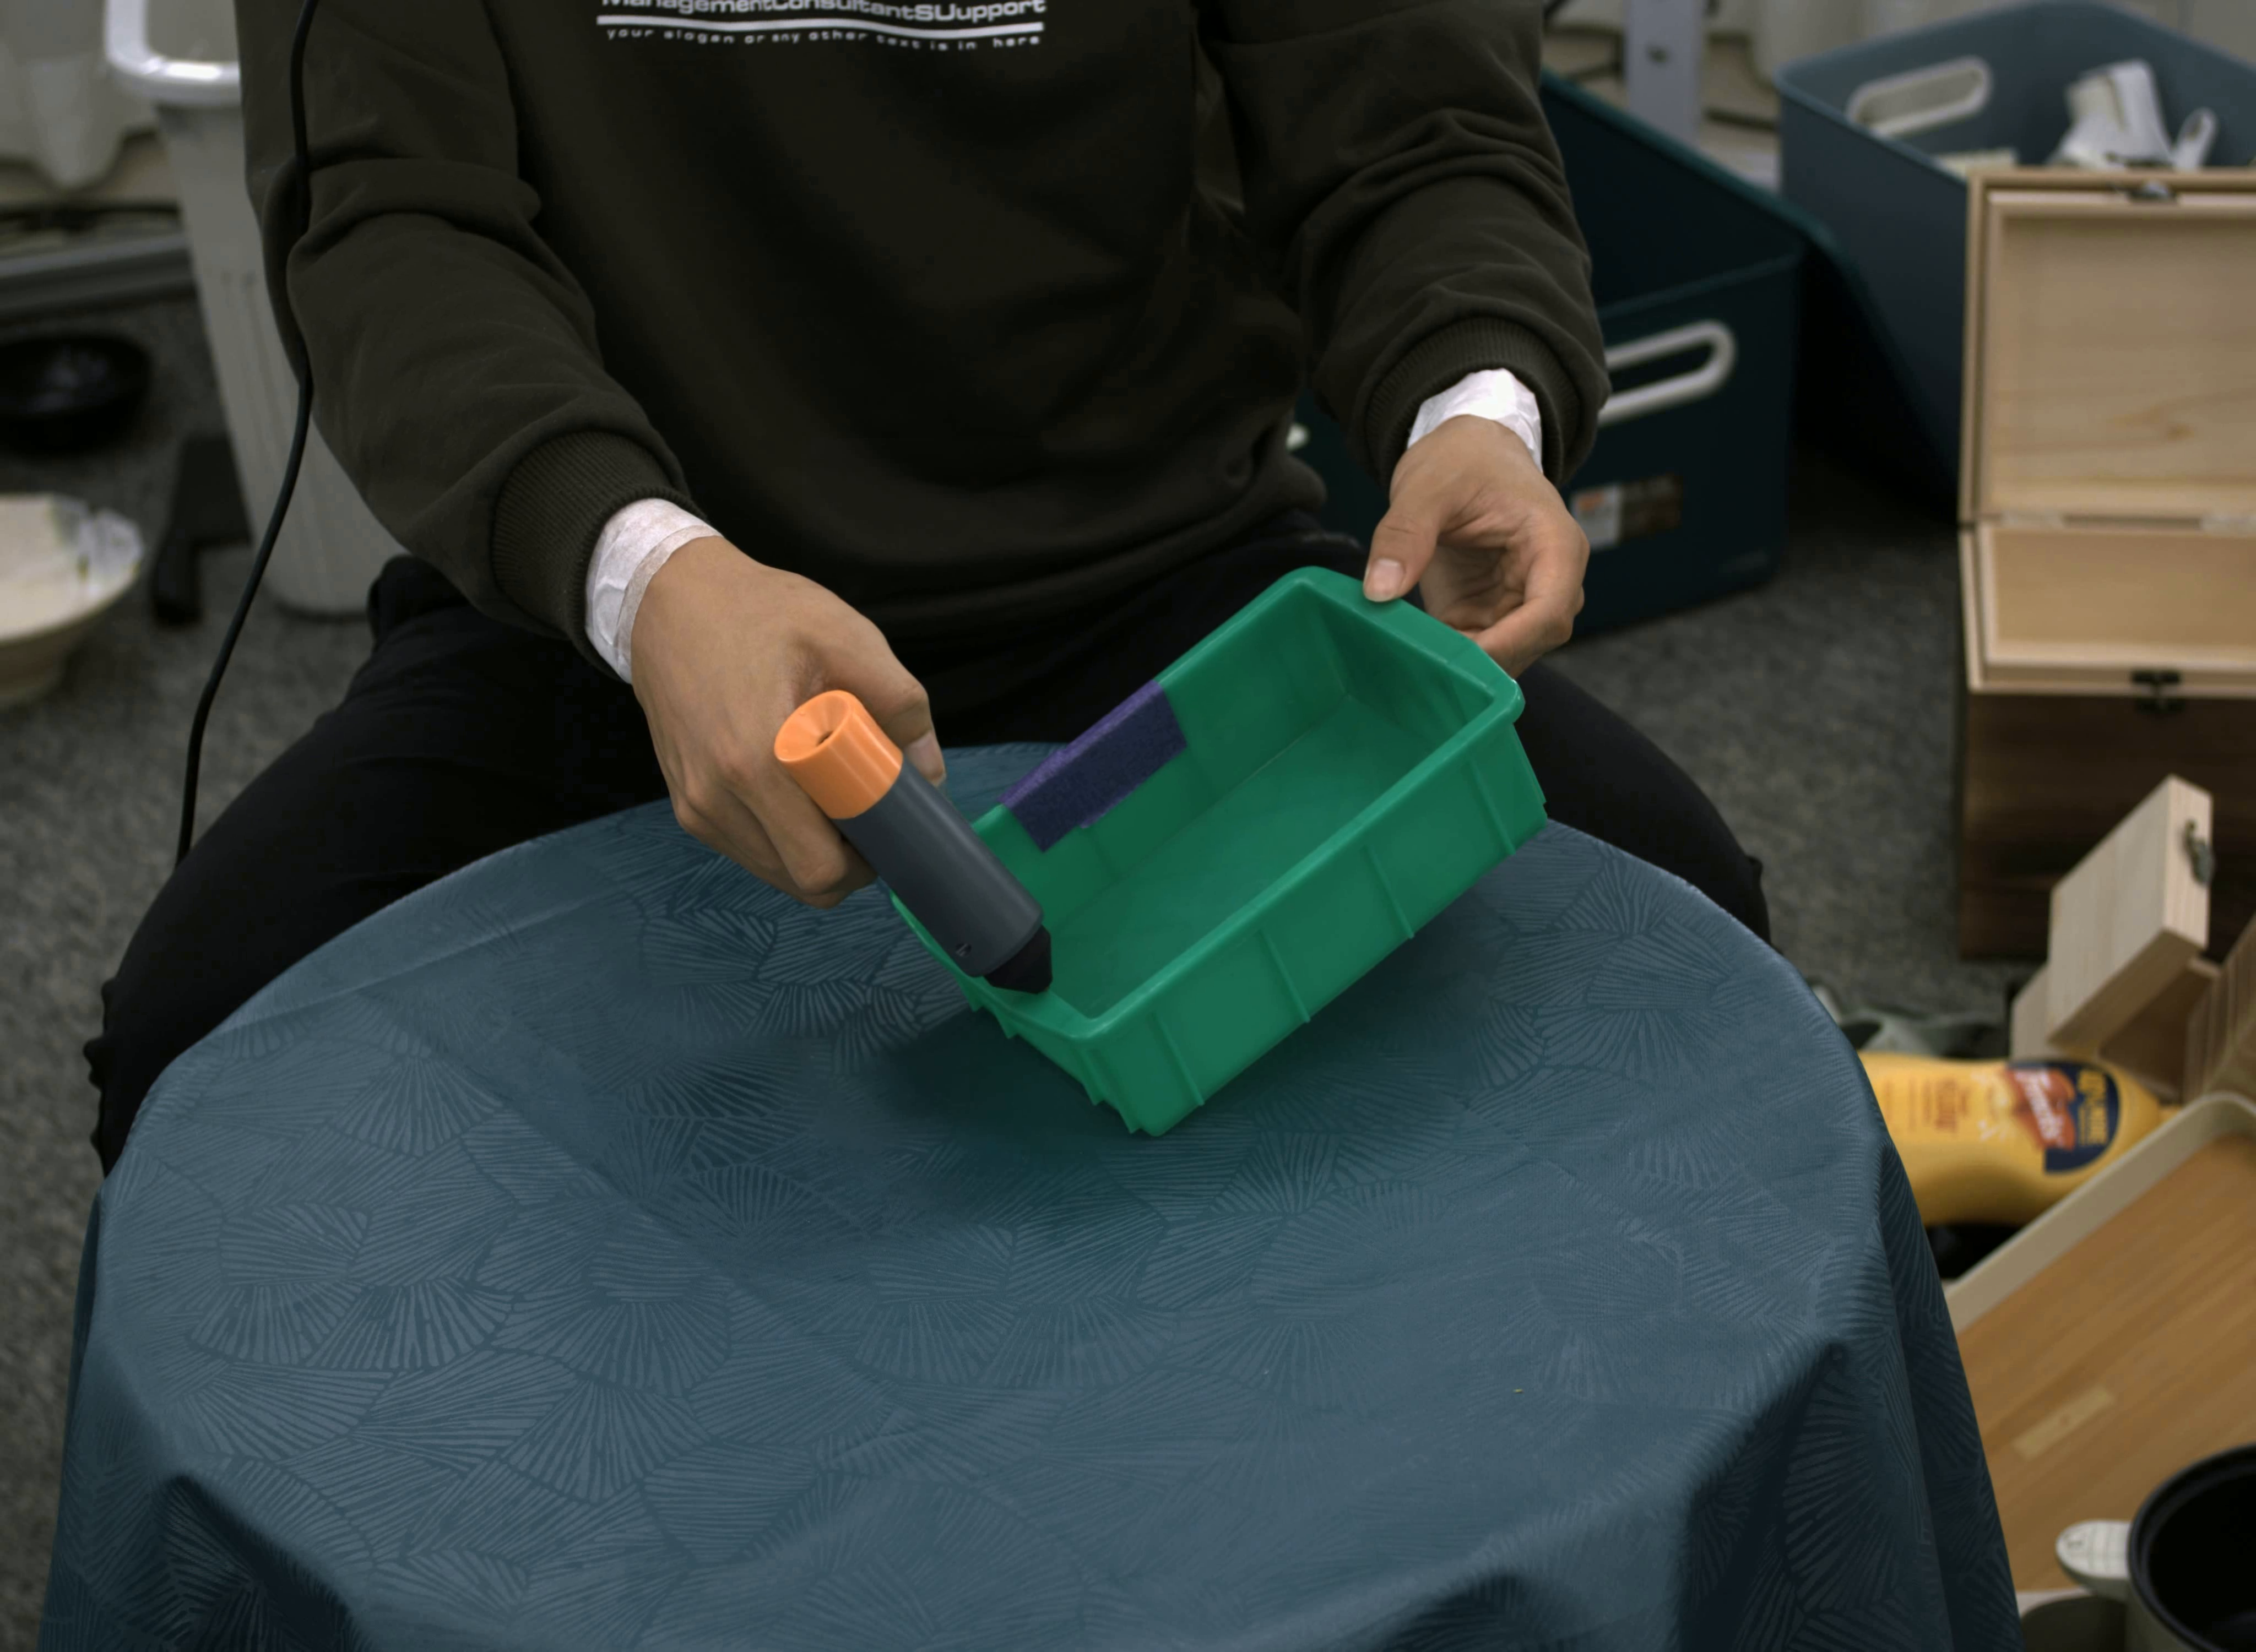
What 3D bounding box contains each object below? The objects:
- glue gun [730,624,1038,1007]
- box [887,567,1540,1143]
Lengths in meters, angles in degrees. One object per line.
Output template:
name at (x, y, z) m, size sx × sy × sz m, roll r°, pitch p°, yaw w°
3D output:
glue gun at (-0.082, -0.006, 1.901) m, size 0.041 × 0.117 × 0.141 m, roll -35°, pitch 31°, yaw -5°
box at (0.034, 0.012, 1.945) m, size 0.212 × 0.064 × 0.139 m, roll -40°, pitch 38°, yaw -16°
